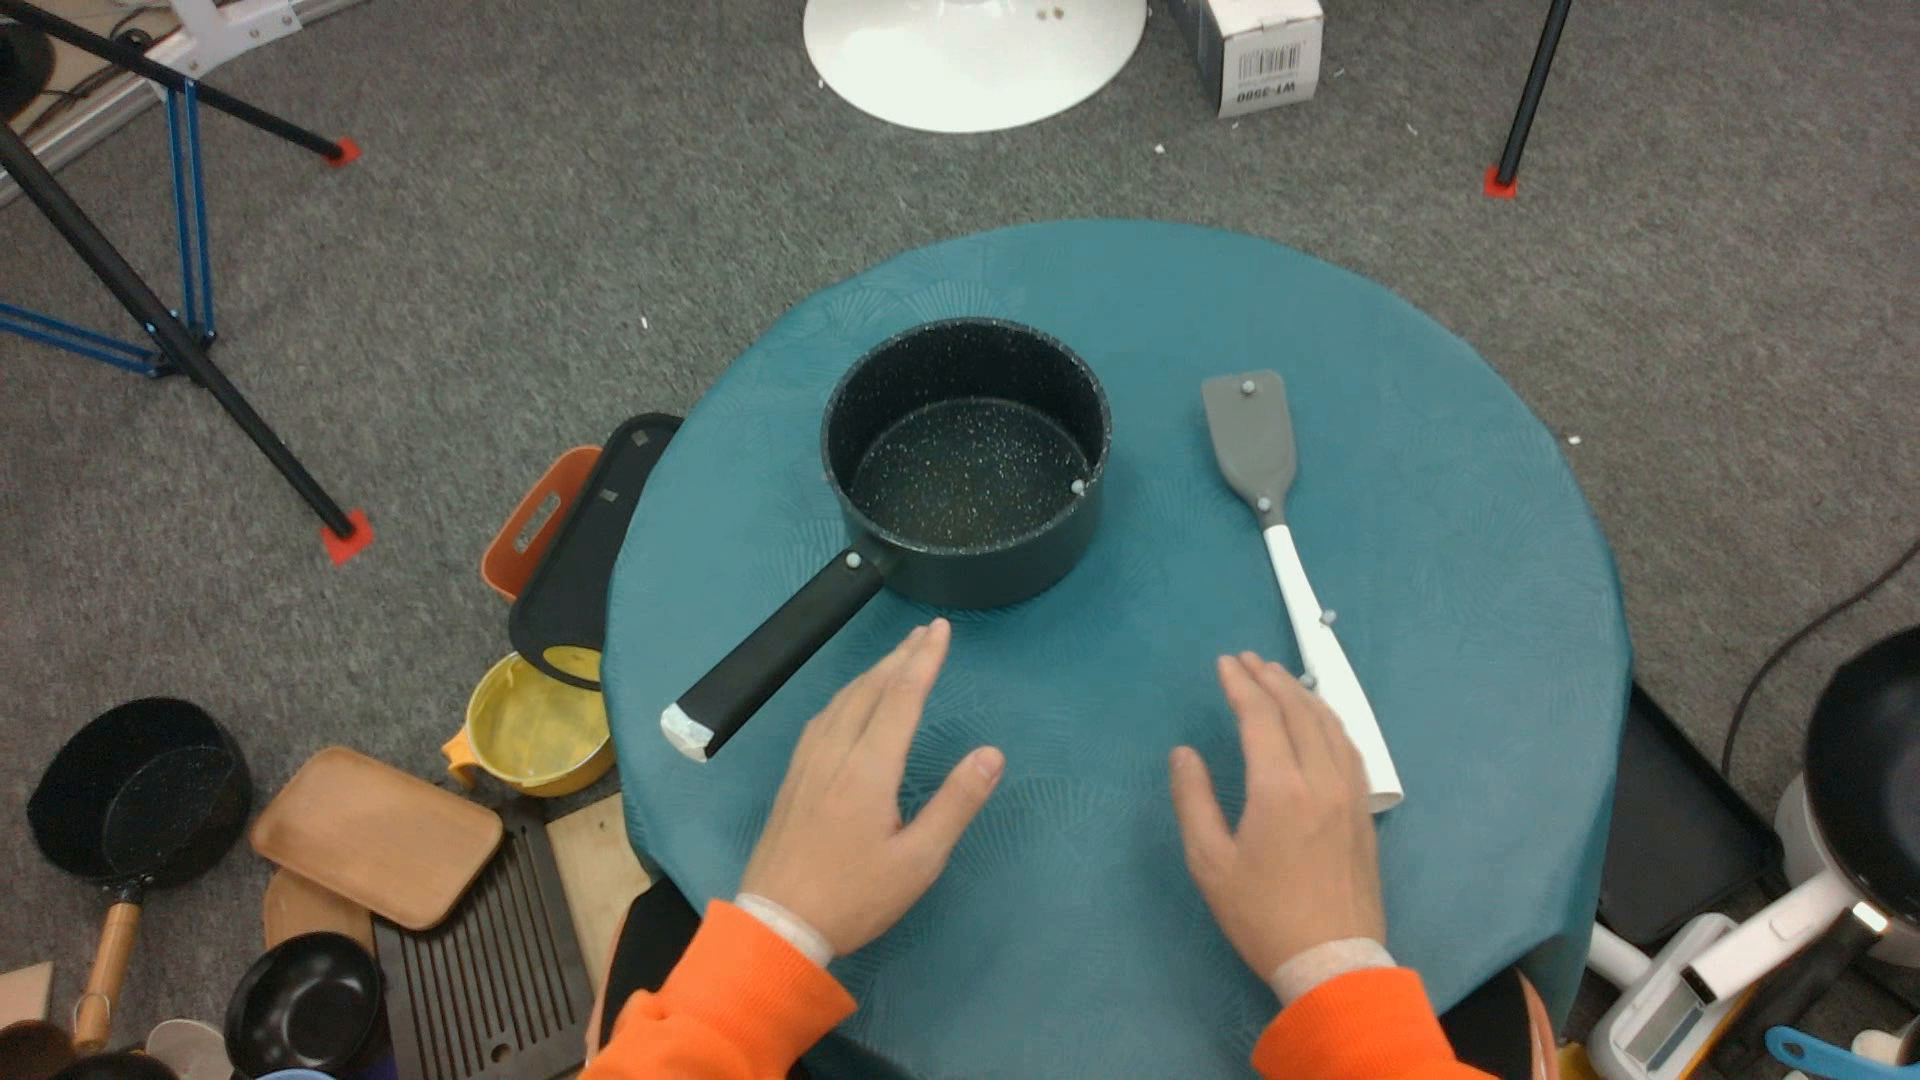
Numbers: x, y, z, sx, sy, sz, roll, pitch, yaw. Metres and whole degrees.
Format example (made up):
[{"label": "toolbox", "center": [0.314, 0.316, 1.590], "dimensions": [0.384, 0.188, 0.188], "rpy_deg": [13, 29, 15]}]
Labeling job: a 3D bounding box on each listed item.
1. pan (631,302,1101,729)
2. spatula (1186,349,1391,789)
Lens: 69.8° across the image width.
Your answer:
[{"label": "pan", "center": [-0.052, -0.002, 0.795], "dimensions": [0.172, 0.086, 0.330], "rpy_deg": [33, 63, 23]}, {"label": "spatula", "center": [0.190, 0.006, 0.805], "dimensions": [0.058, 0.032, 0.288], "rpy_deg": [-12, 58, 2]}]
